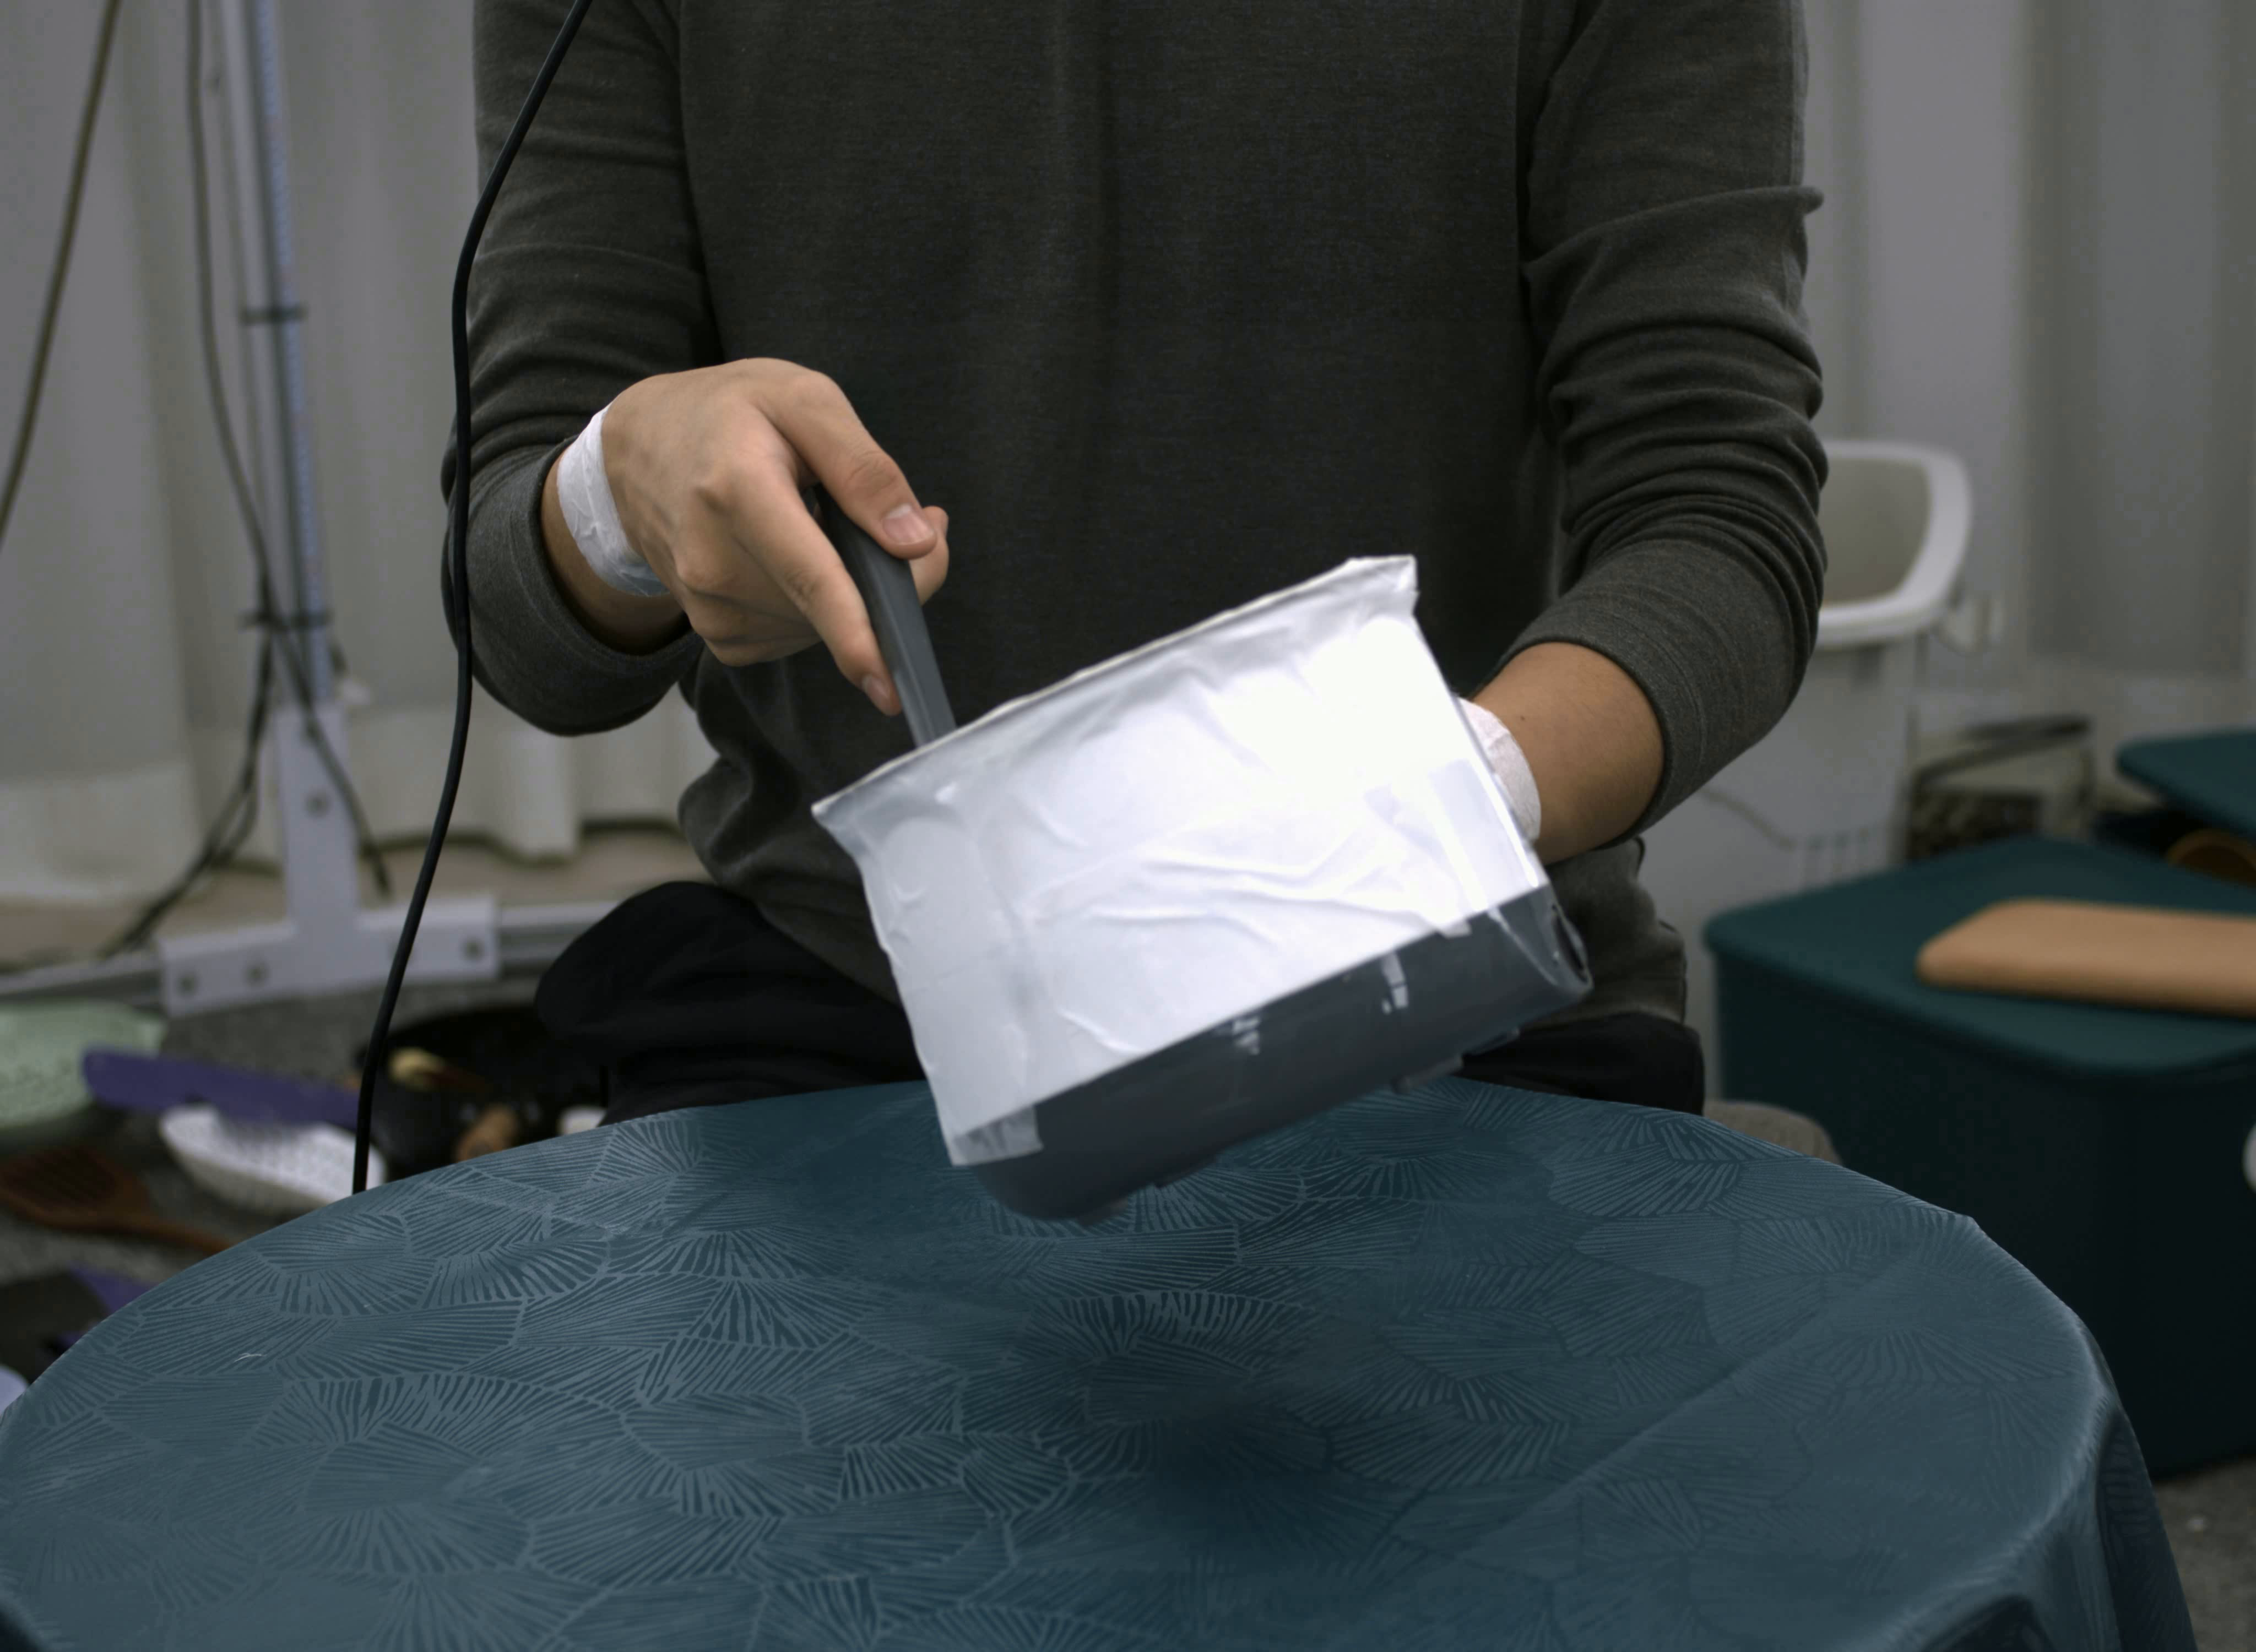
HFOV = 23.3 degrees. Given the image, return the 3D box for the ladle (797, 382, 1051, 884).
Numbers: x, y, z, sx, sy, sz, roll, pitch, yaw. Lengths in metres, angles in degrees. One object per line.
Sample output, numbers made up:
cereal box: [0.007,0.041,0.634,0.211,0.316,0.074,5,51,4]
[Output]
ladle: [-0.047,-0.063,1.554,0.085,0.063,0.318,33,20,-30]

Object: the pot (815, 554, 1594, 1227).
pot: [0.027,0.018,1.501,0.178,0.137,0.233,-23,-2,12]
